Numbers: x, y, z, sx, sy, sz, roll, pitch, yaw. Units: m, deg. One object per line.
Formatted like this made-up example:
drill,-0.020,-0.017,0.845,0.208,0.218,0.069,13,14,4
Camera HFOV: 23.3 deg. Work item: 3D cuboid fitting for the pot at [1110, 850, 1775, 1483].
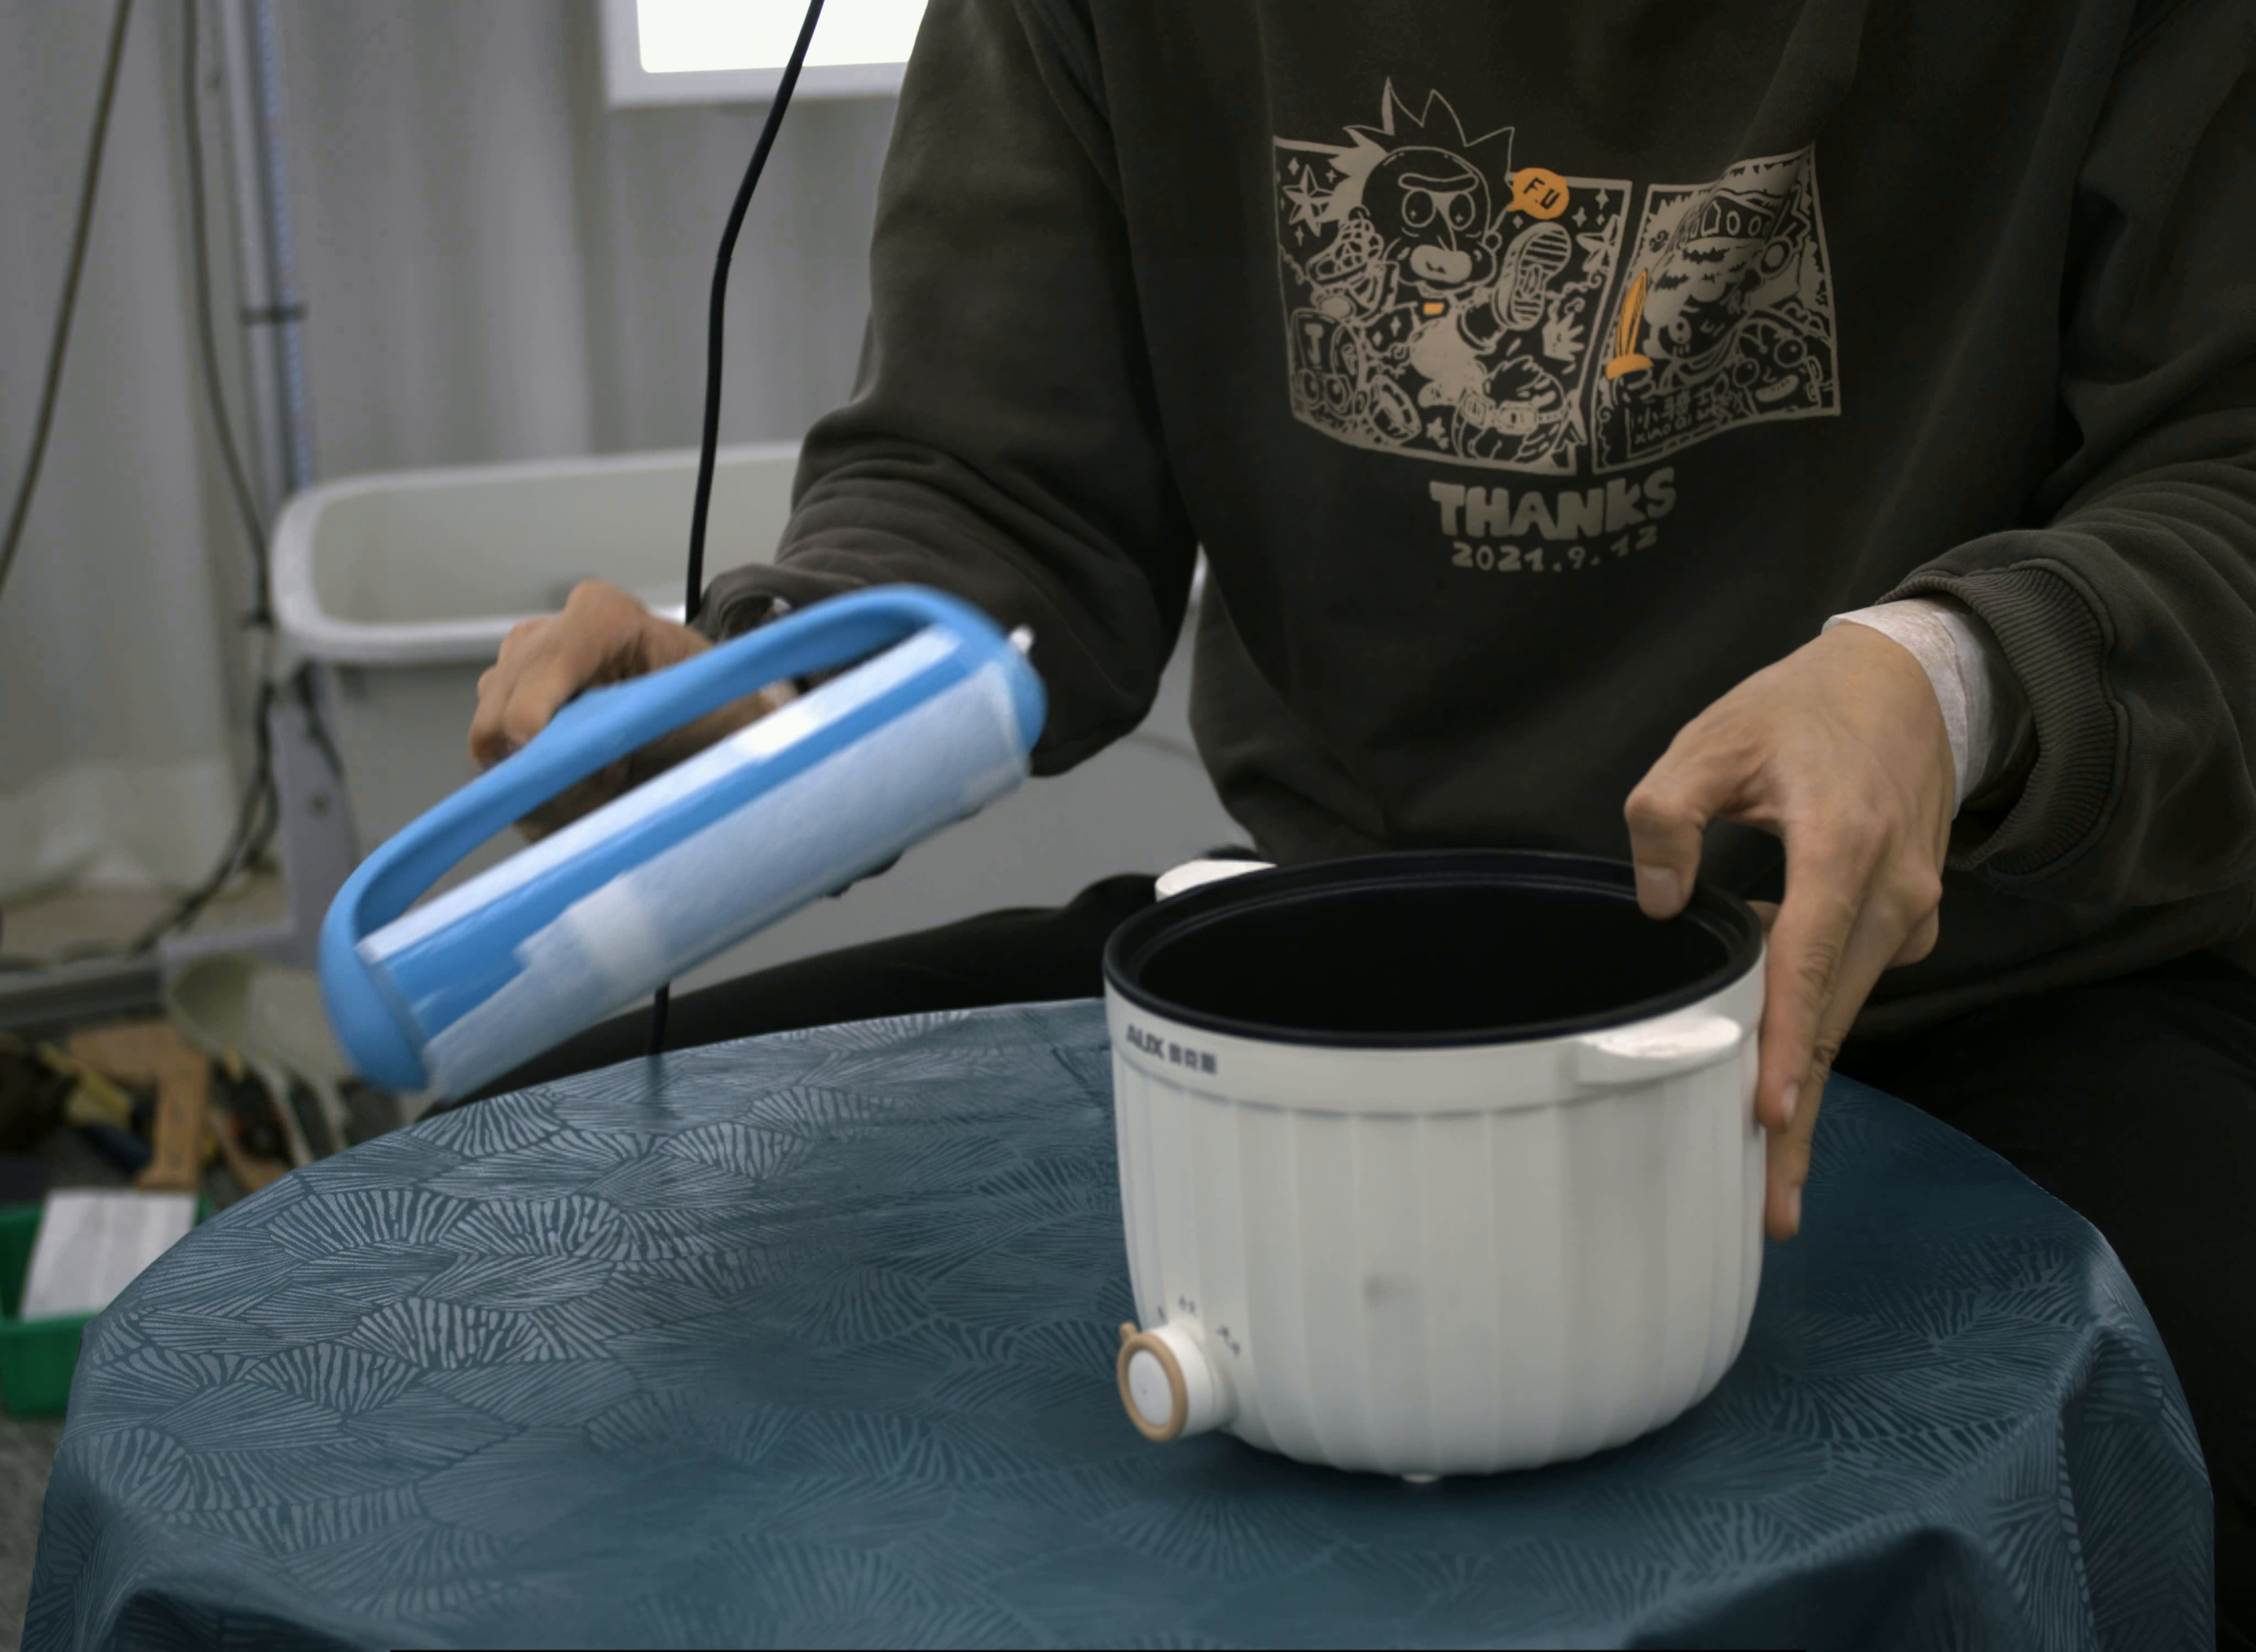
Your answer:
pot,0.084,0.096,1.509,0.189,0.142,0.242,-9,14,-33

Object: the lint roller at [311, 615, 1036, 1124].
lint roller,-0.153,-0.003,1.639,0.229,0.067,0.182,-31,28,-12
